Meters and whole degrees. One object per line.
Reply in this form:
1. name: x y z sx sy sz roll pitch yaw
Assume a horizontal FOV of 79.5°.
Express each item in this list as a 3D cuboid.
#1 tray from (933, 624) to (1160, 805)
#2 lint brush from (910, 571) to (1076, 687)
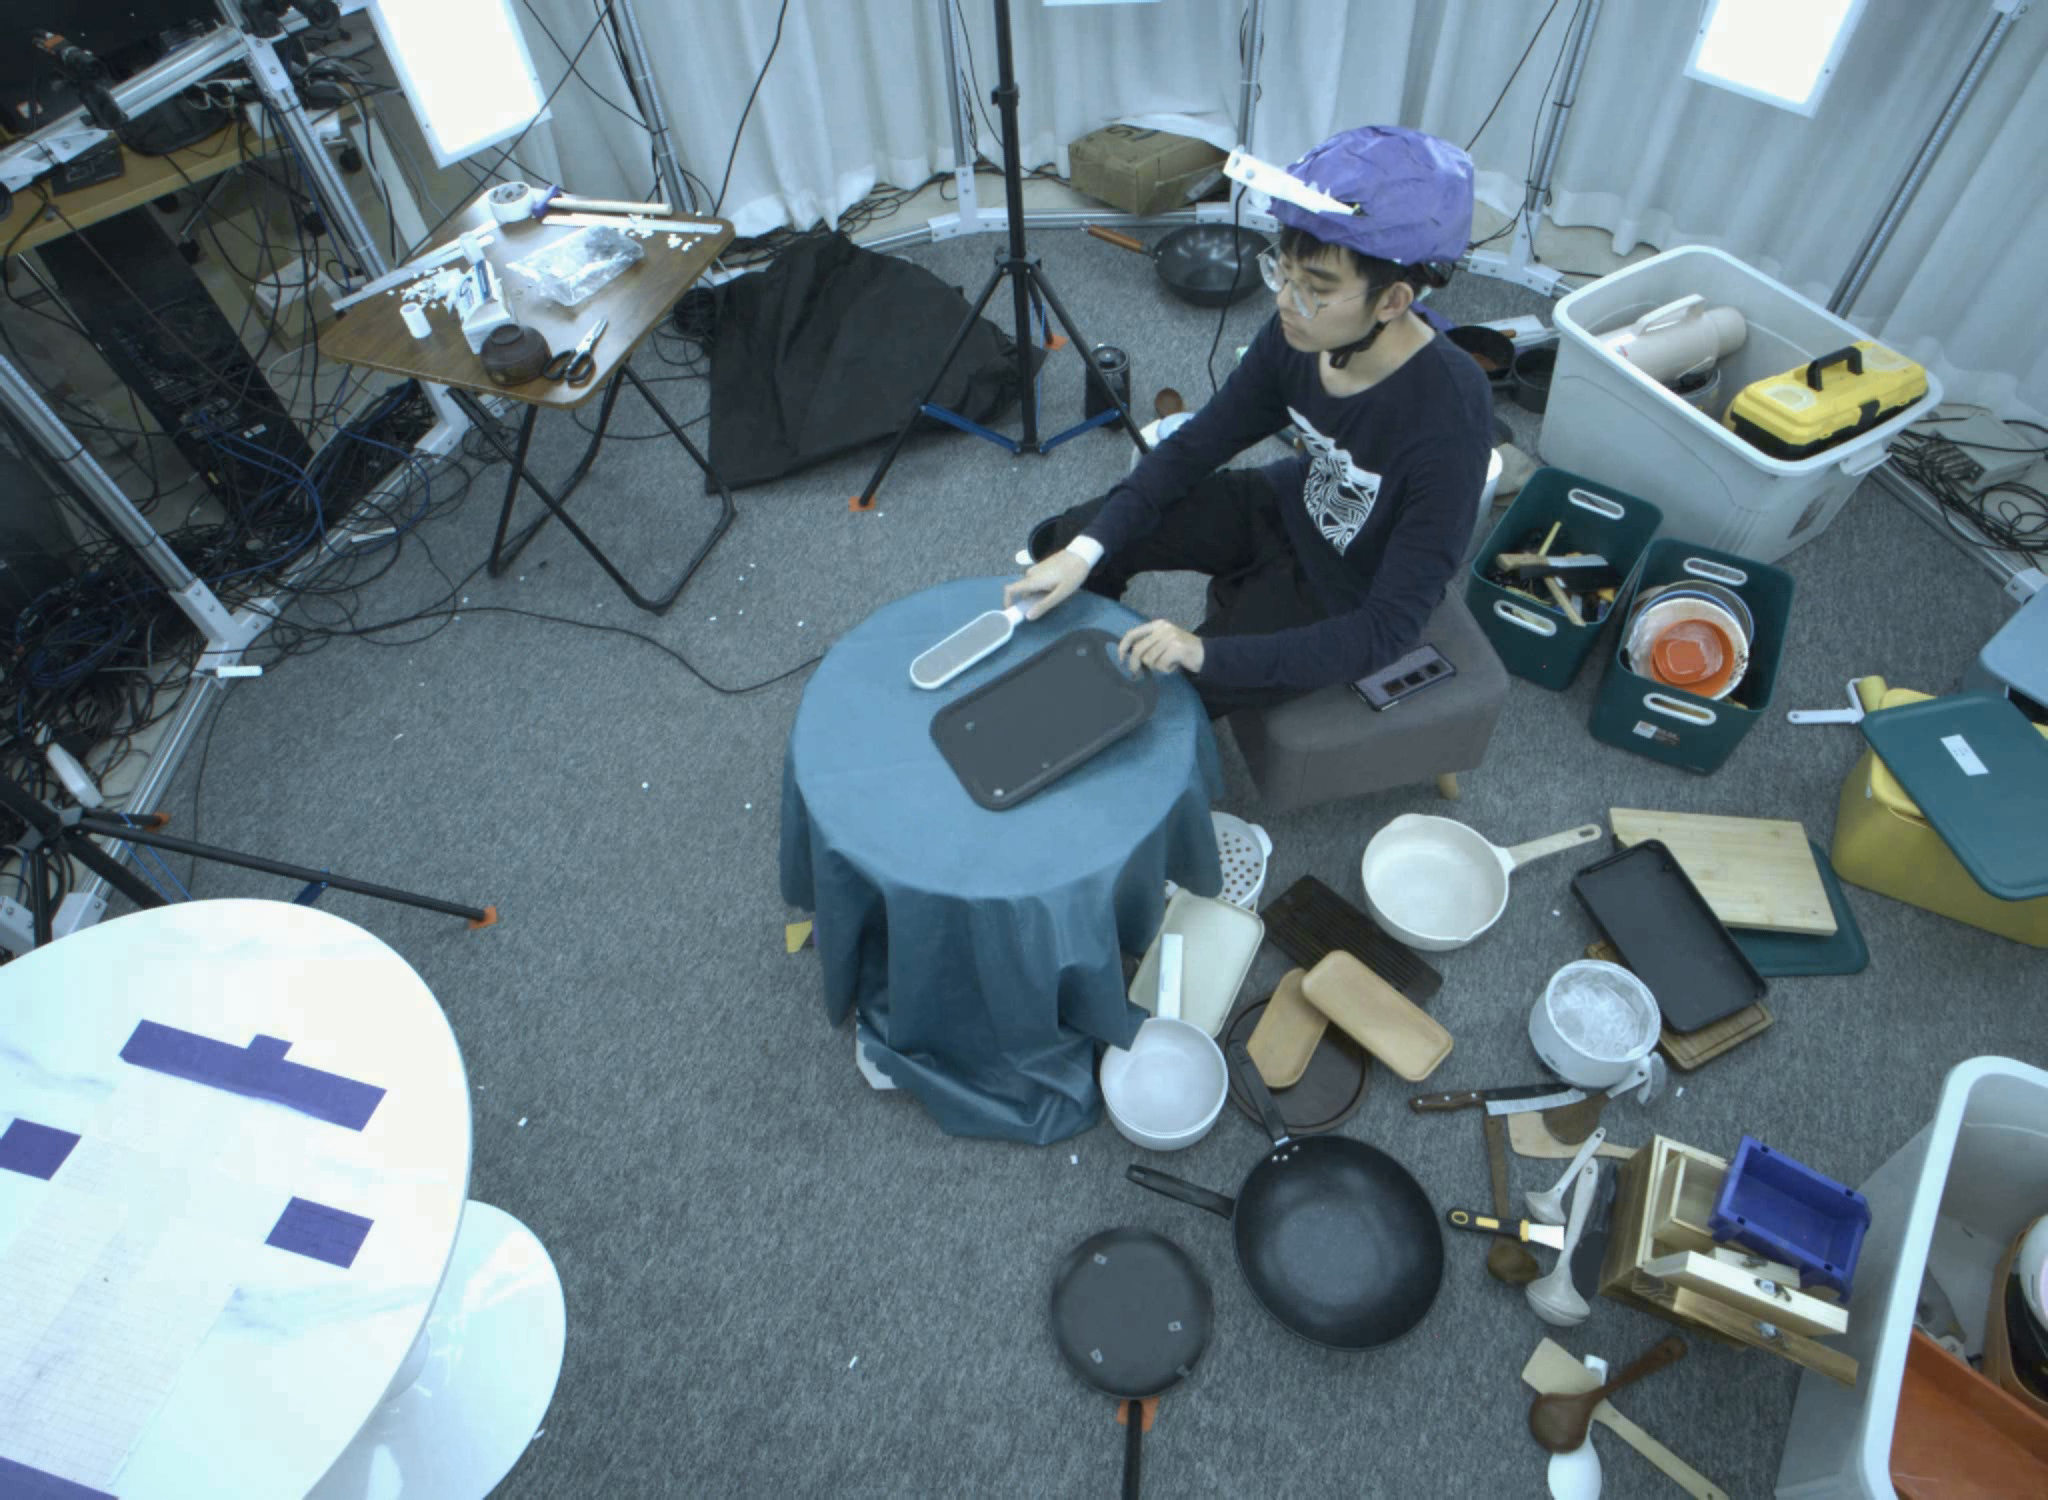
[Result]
1. tray: 0.036 -0.062 1.803 0.326 0.010 0.207 -31 59 -8
2. lint brush: -0.044 -0.190 1.898 0.310 0.021 0.059 -34 65 -14
